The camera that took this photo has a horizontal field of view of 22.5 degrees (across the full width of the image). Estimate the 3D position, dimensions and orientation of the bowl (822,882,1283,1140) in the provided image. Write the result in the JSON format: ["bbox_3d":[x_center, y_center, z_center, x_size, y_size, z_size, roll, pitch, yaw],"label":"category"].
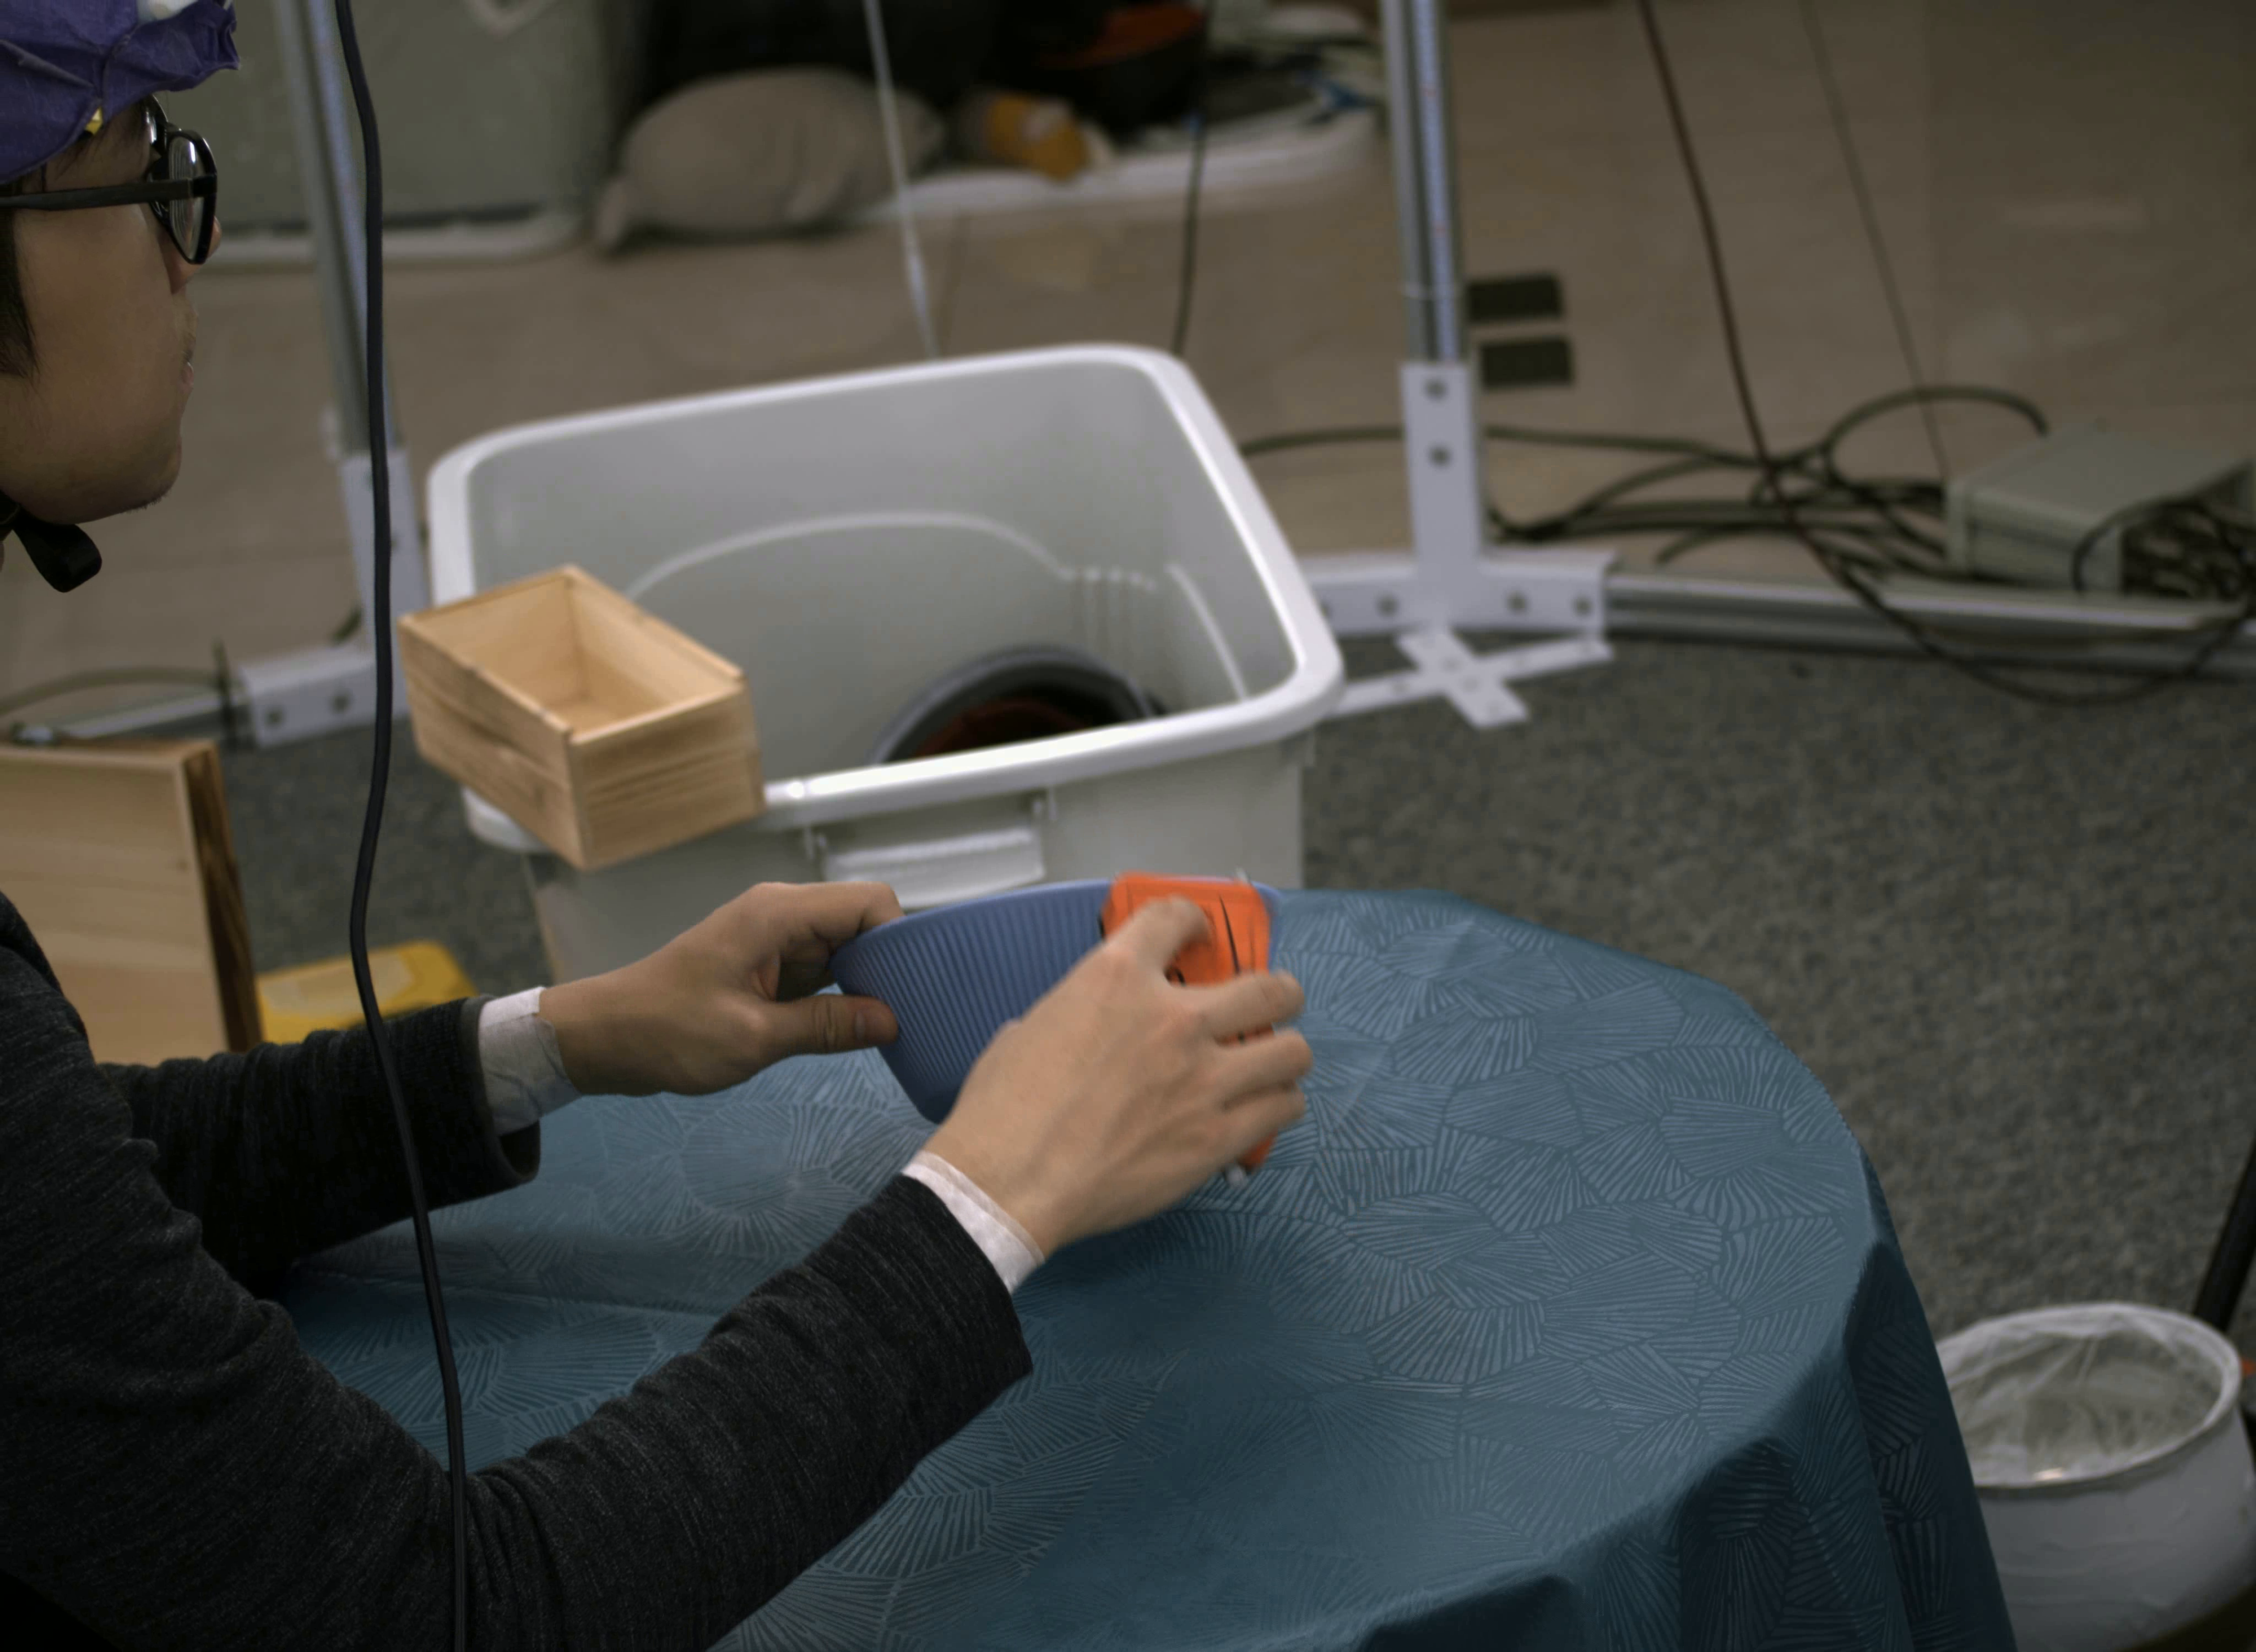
[{"bbox_3d":[-0.024,0.074,2.134,0.176,0.070,0.177,-8,-11,-1],"label":"bowl"}]

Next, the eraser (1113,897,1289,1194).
[{"bbox_3d":[0.025,0.077,2.000,0.059,0.023,0.106,5,58,-12],"label":"eraser"}]
